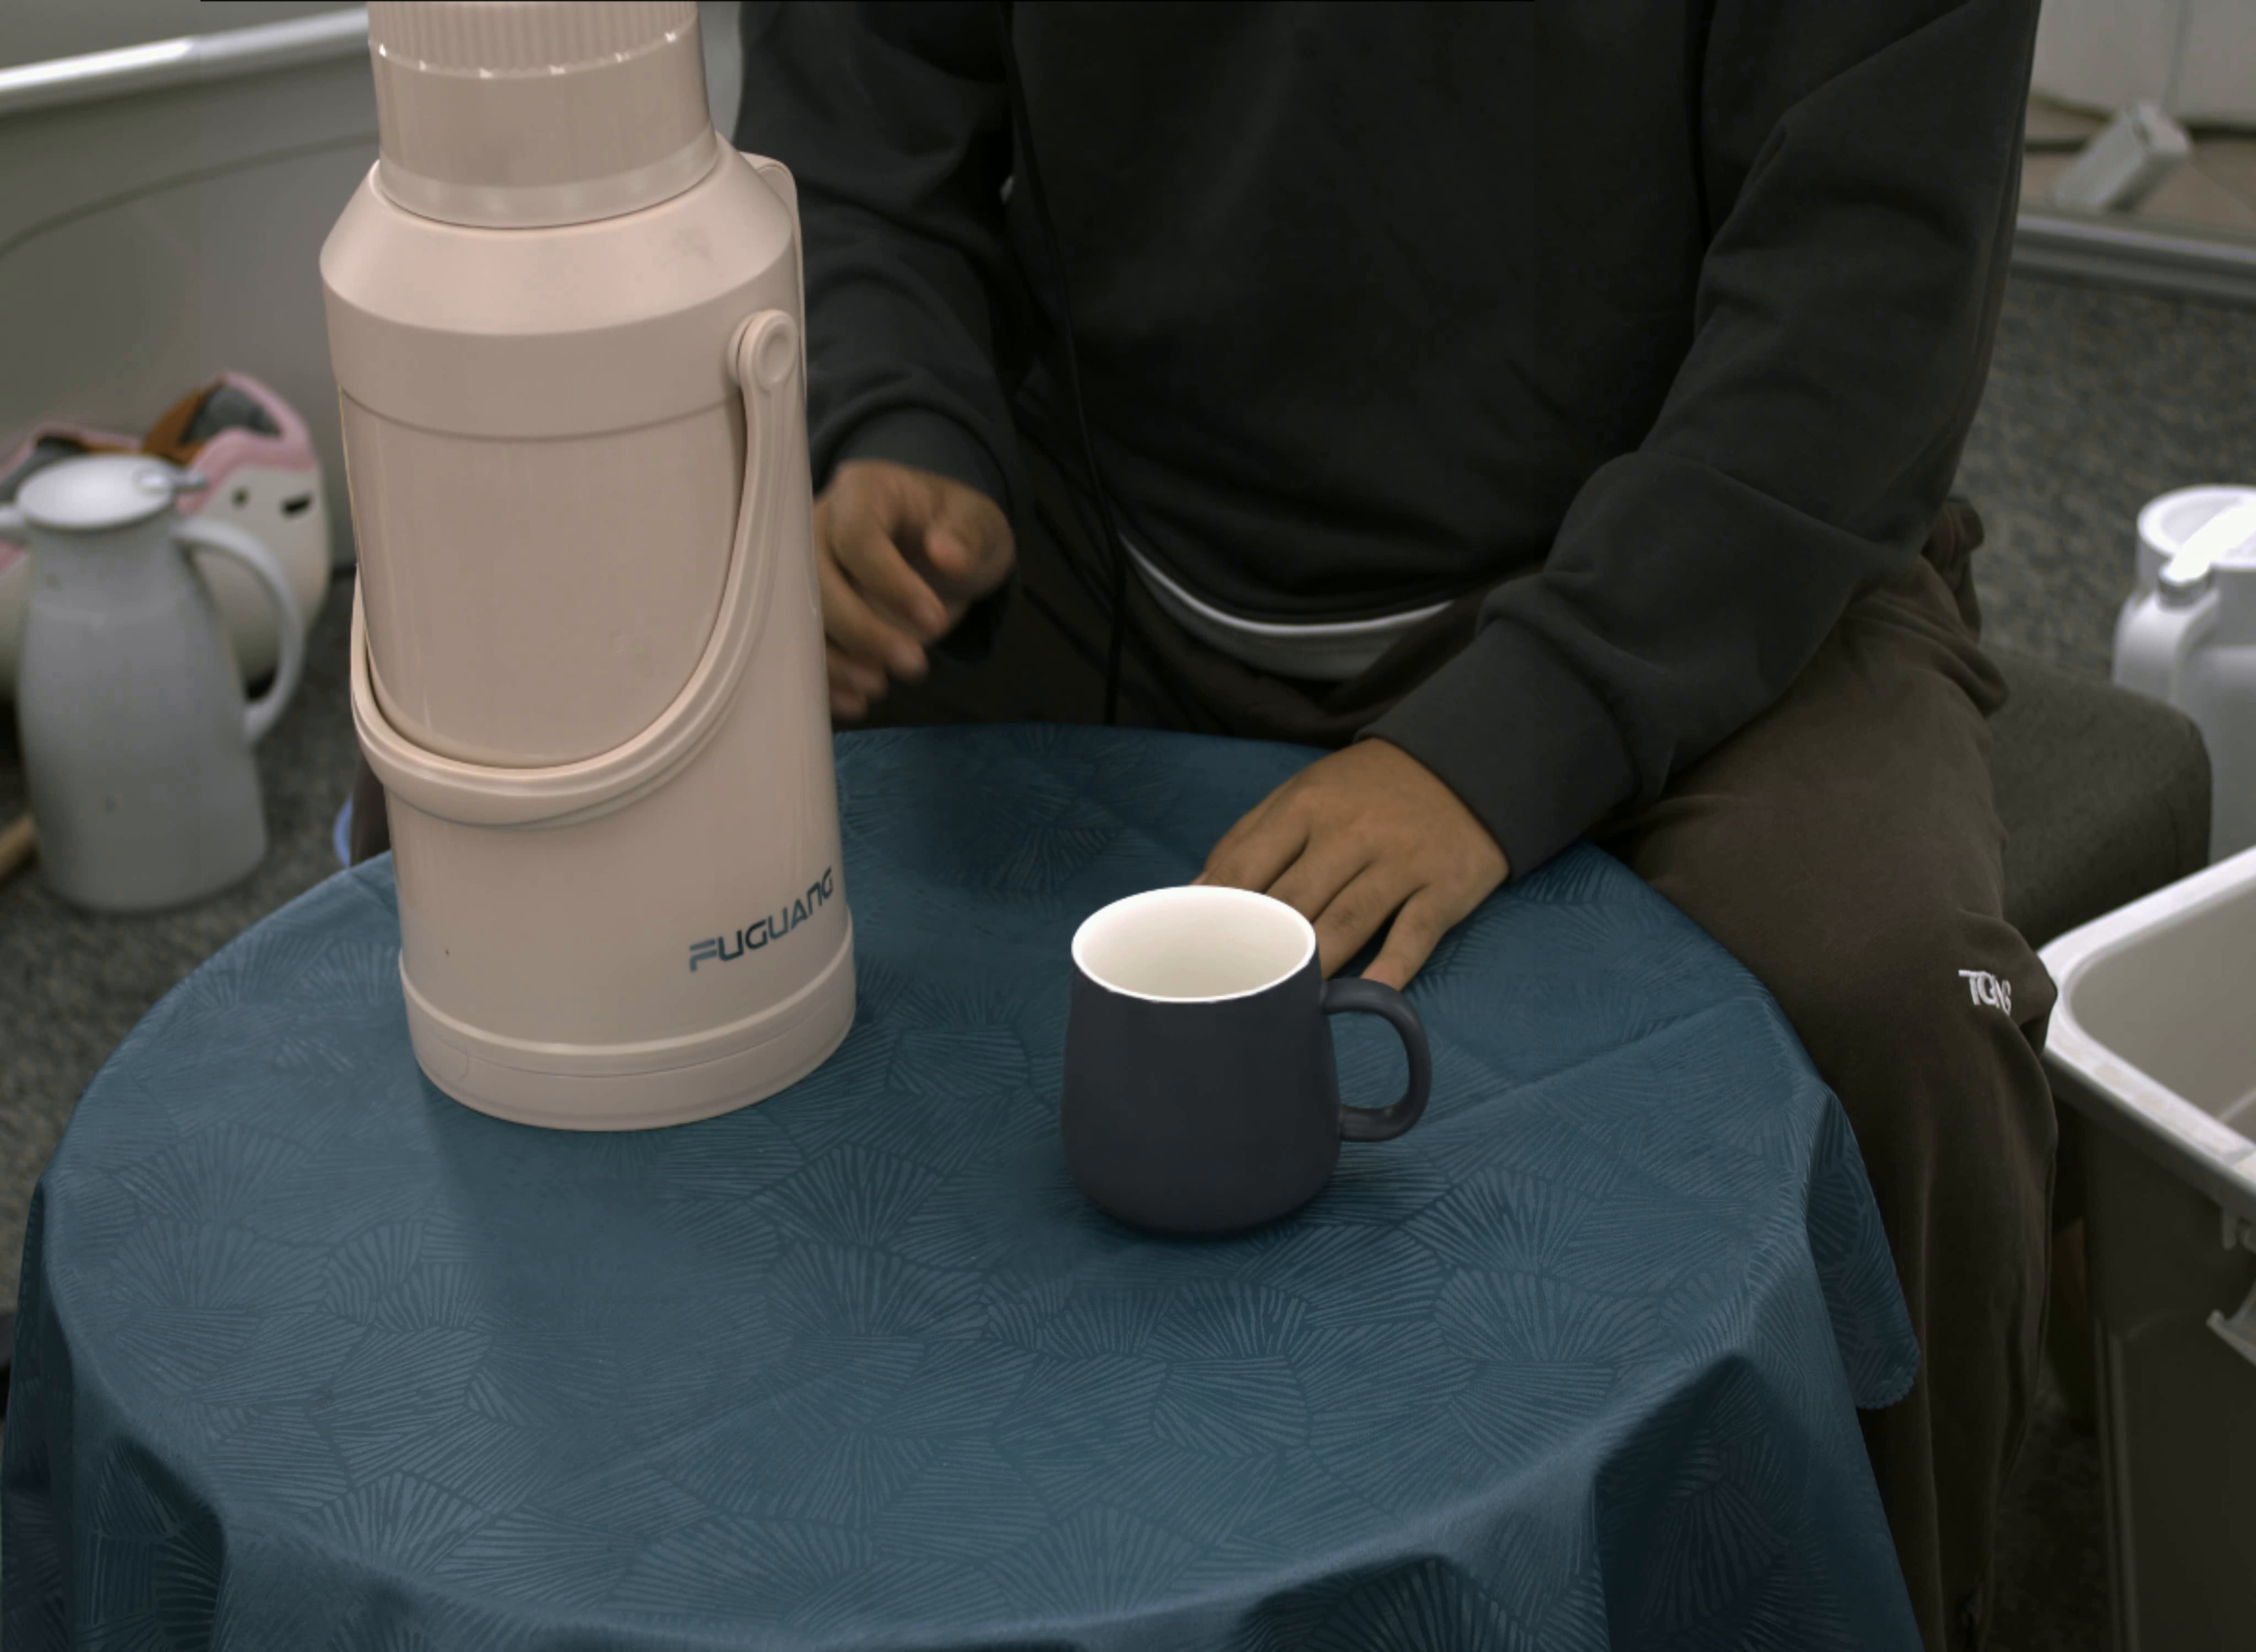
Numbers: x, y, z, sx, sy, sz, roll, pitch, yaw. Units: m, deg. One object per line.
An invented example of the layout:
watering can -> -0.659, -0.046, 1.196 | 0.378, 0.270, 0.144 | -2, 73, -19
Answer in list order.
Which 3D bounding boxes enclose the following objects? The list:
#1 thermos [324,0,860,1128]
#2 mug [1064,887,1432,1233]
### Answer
thermos -> -0.173, -0.113, 1.907 | 0.174, 0.402, 0.210 | 13, 31, 30
mug -> 0.039, 0.078, 1.849 | 0.122, 0.089, 0.095 | 1, 27, 8
